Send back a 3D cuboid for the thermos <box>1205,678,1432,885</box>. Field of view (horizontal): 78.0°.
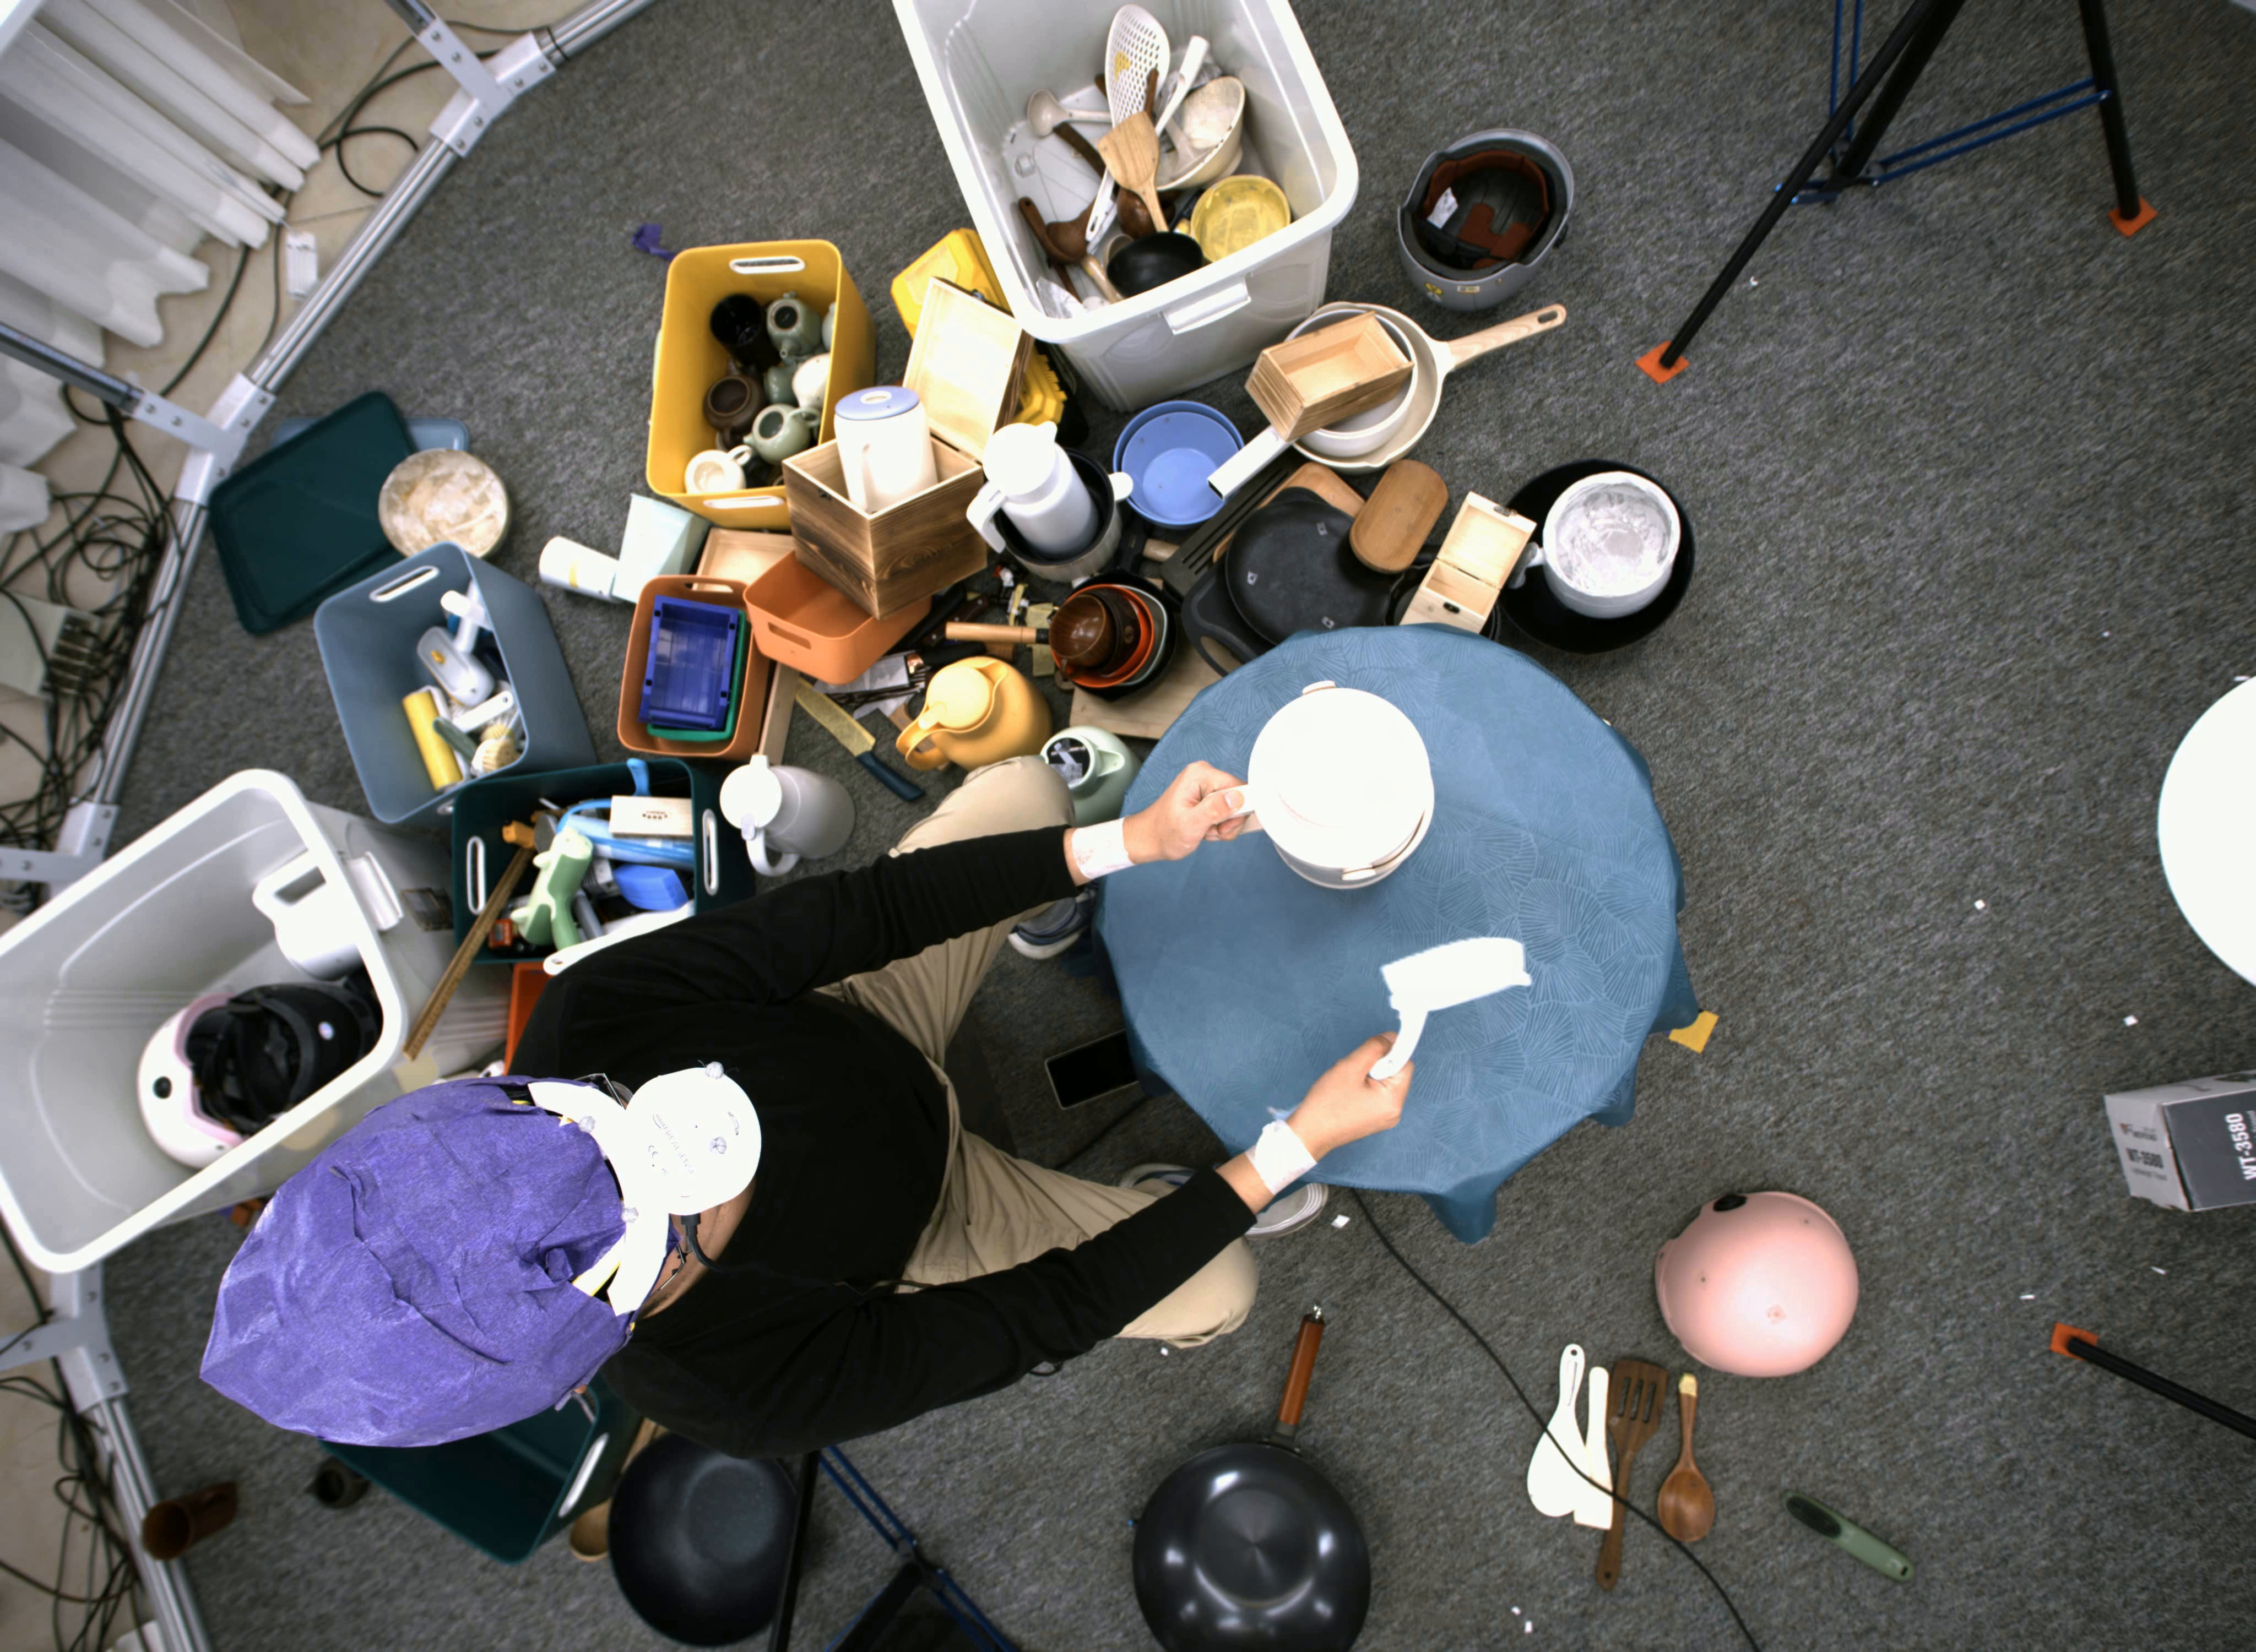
[{"bbox_3d":[0.181,-0.034,1.281,0.208,0.406,0.174,-13,84,8],"label":"thermos"}]

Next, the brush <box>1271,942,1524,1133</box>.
[{"bbox_3d":[0.239,0.186,1.319,0.083,0.082,0.333,41,129,-10],"label":"brush"}]
